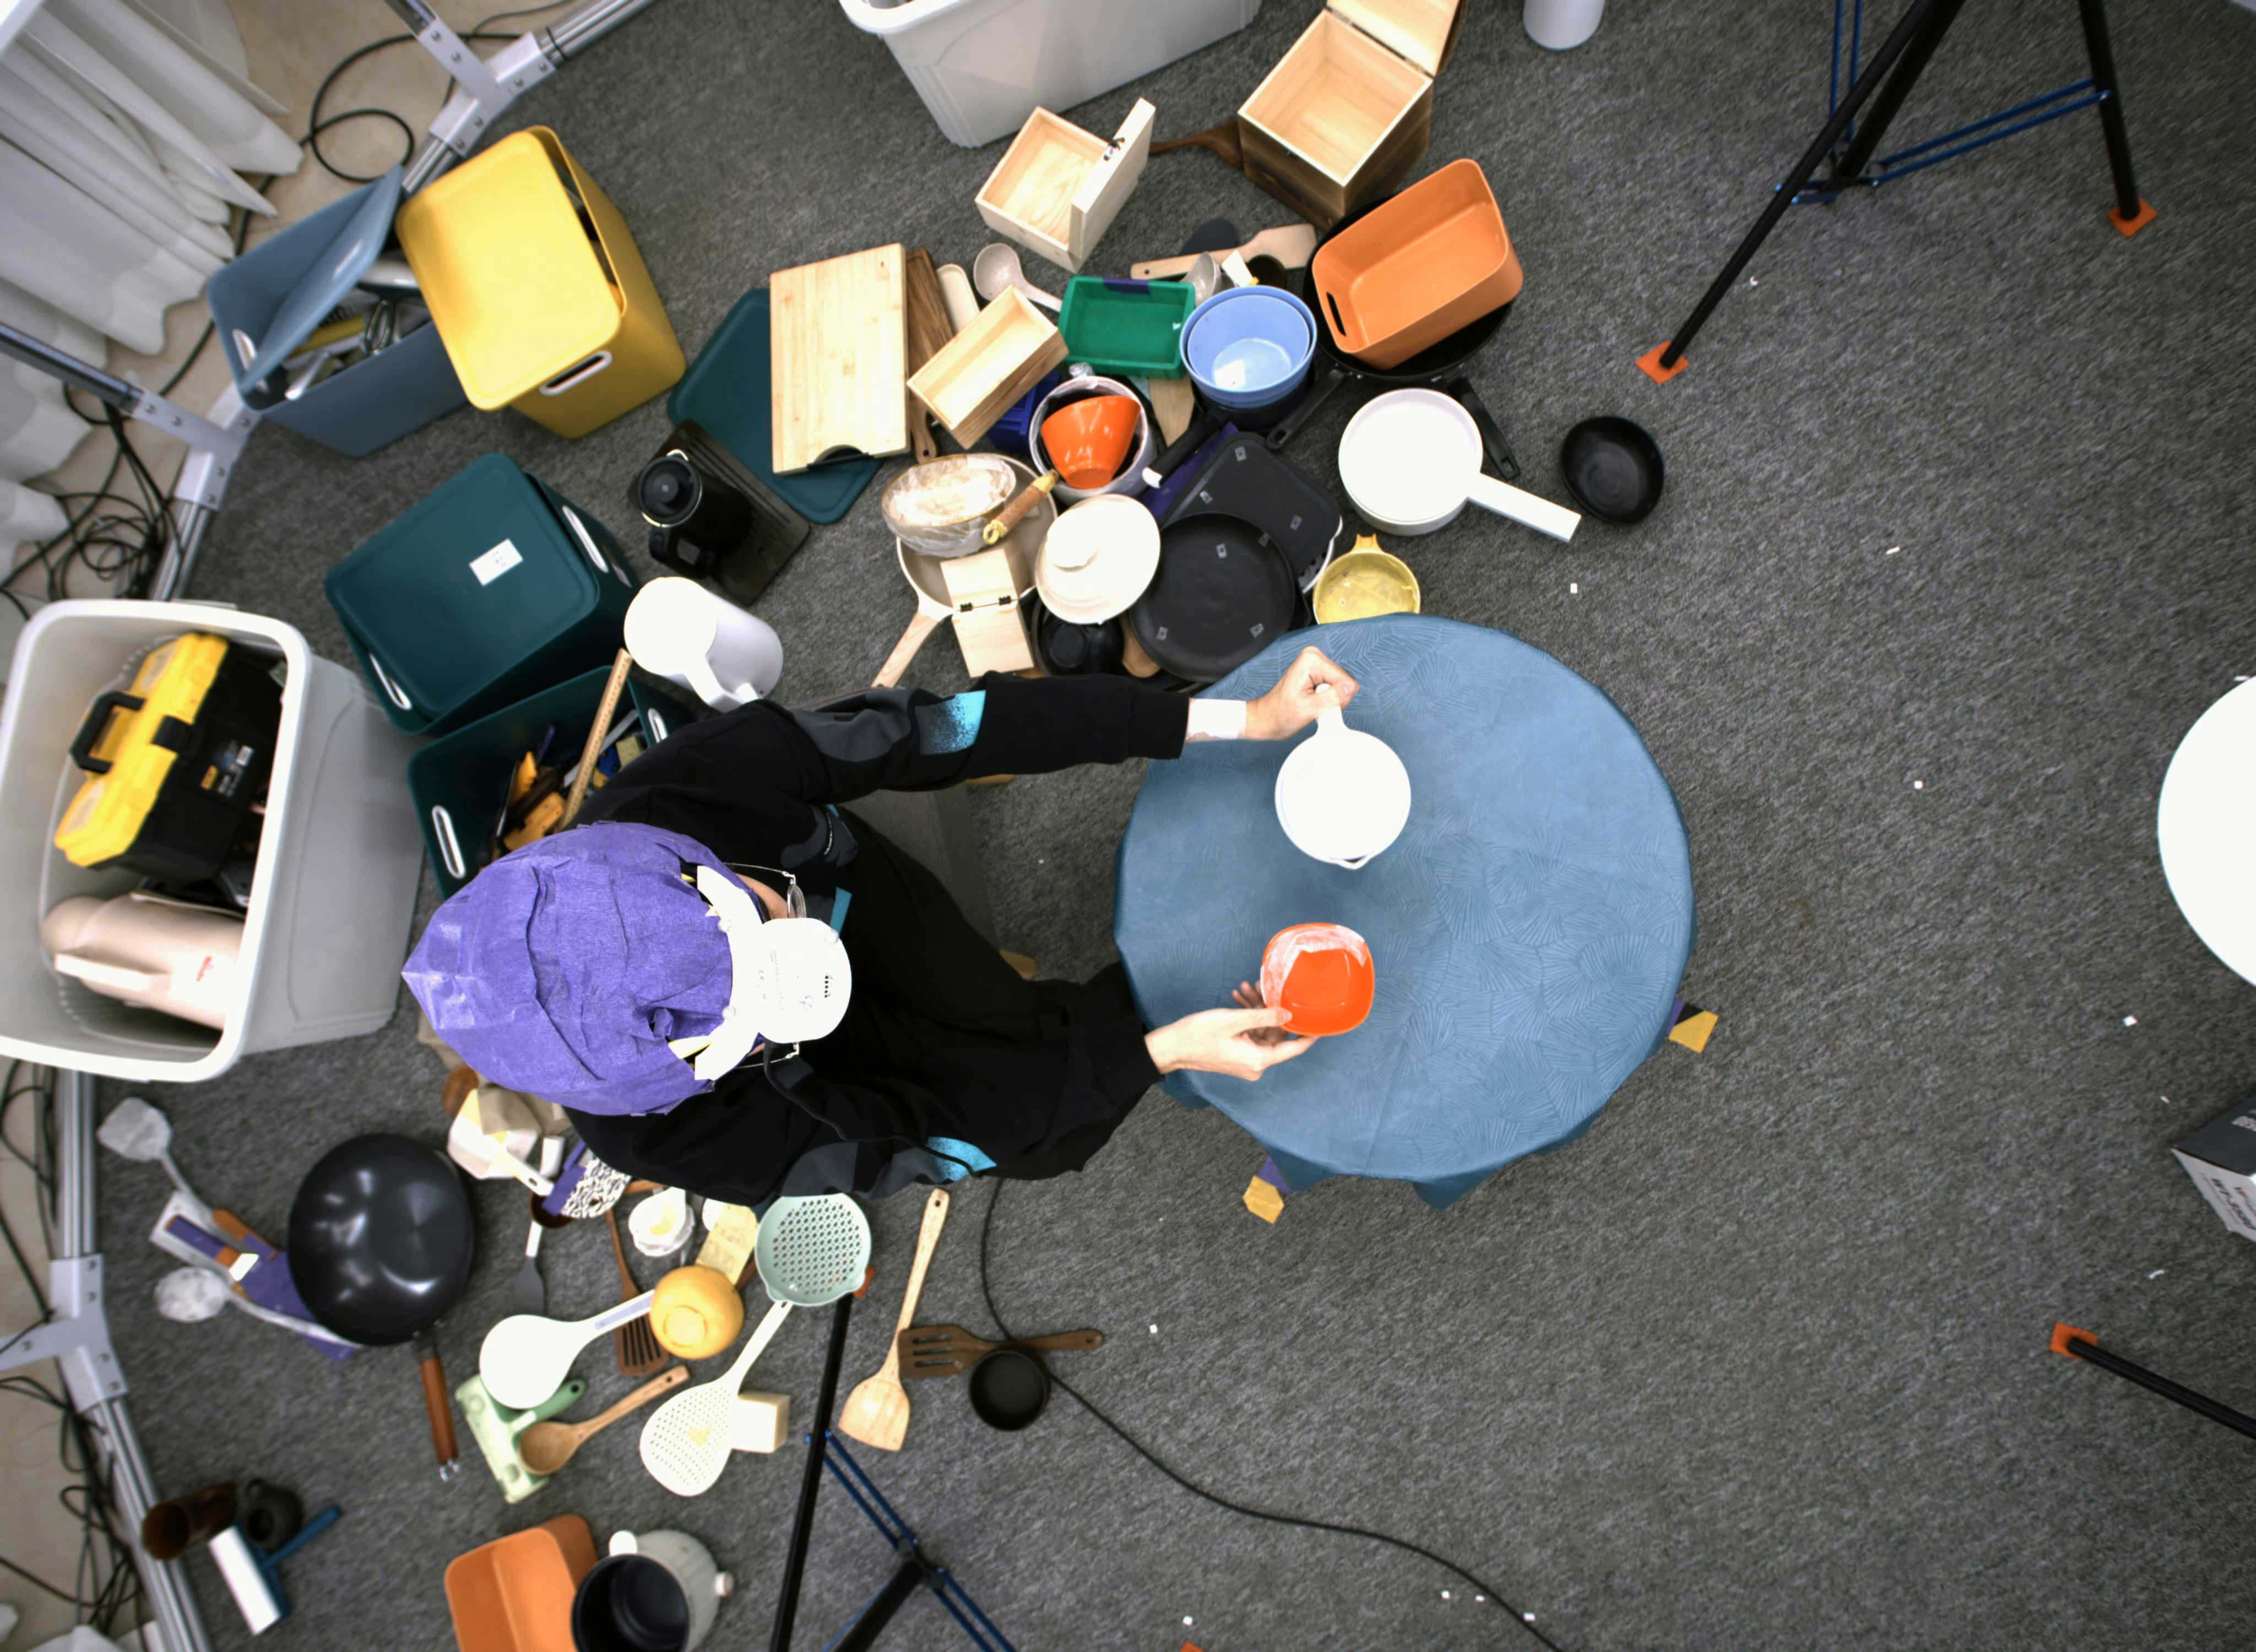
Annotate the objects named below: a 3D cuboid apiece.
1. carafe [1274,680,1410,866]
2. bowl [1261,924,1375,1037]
[{"bbox_3d":[0.207,-0.055,1.378,0.133,0.182,0.191,-11,89,7],"label":"carafe"},{"bbox_3d":[0.186,0.149,1.364,0.119,0.051,0.119,0,92,6],"label":"bowl"}]
